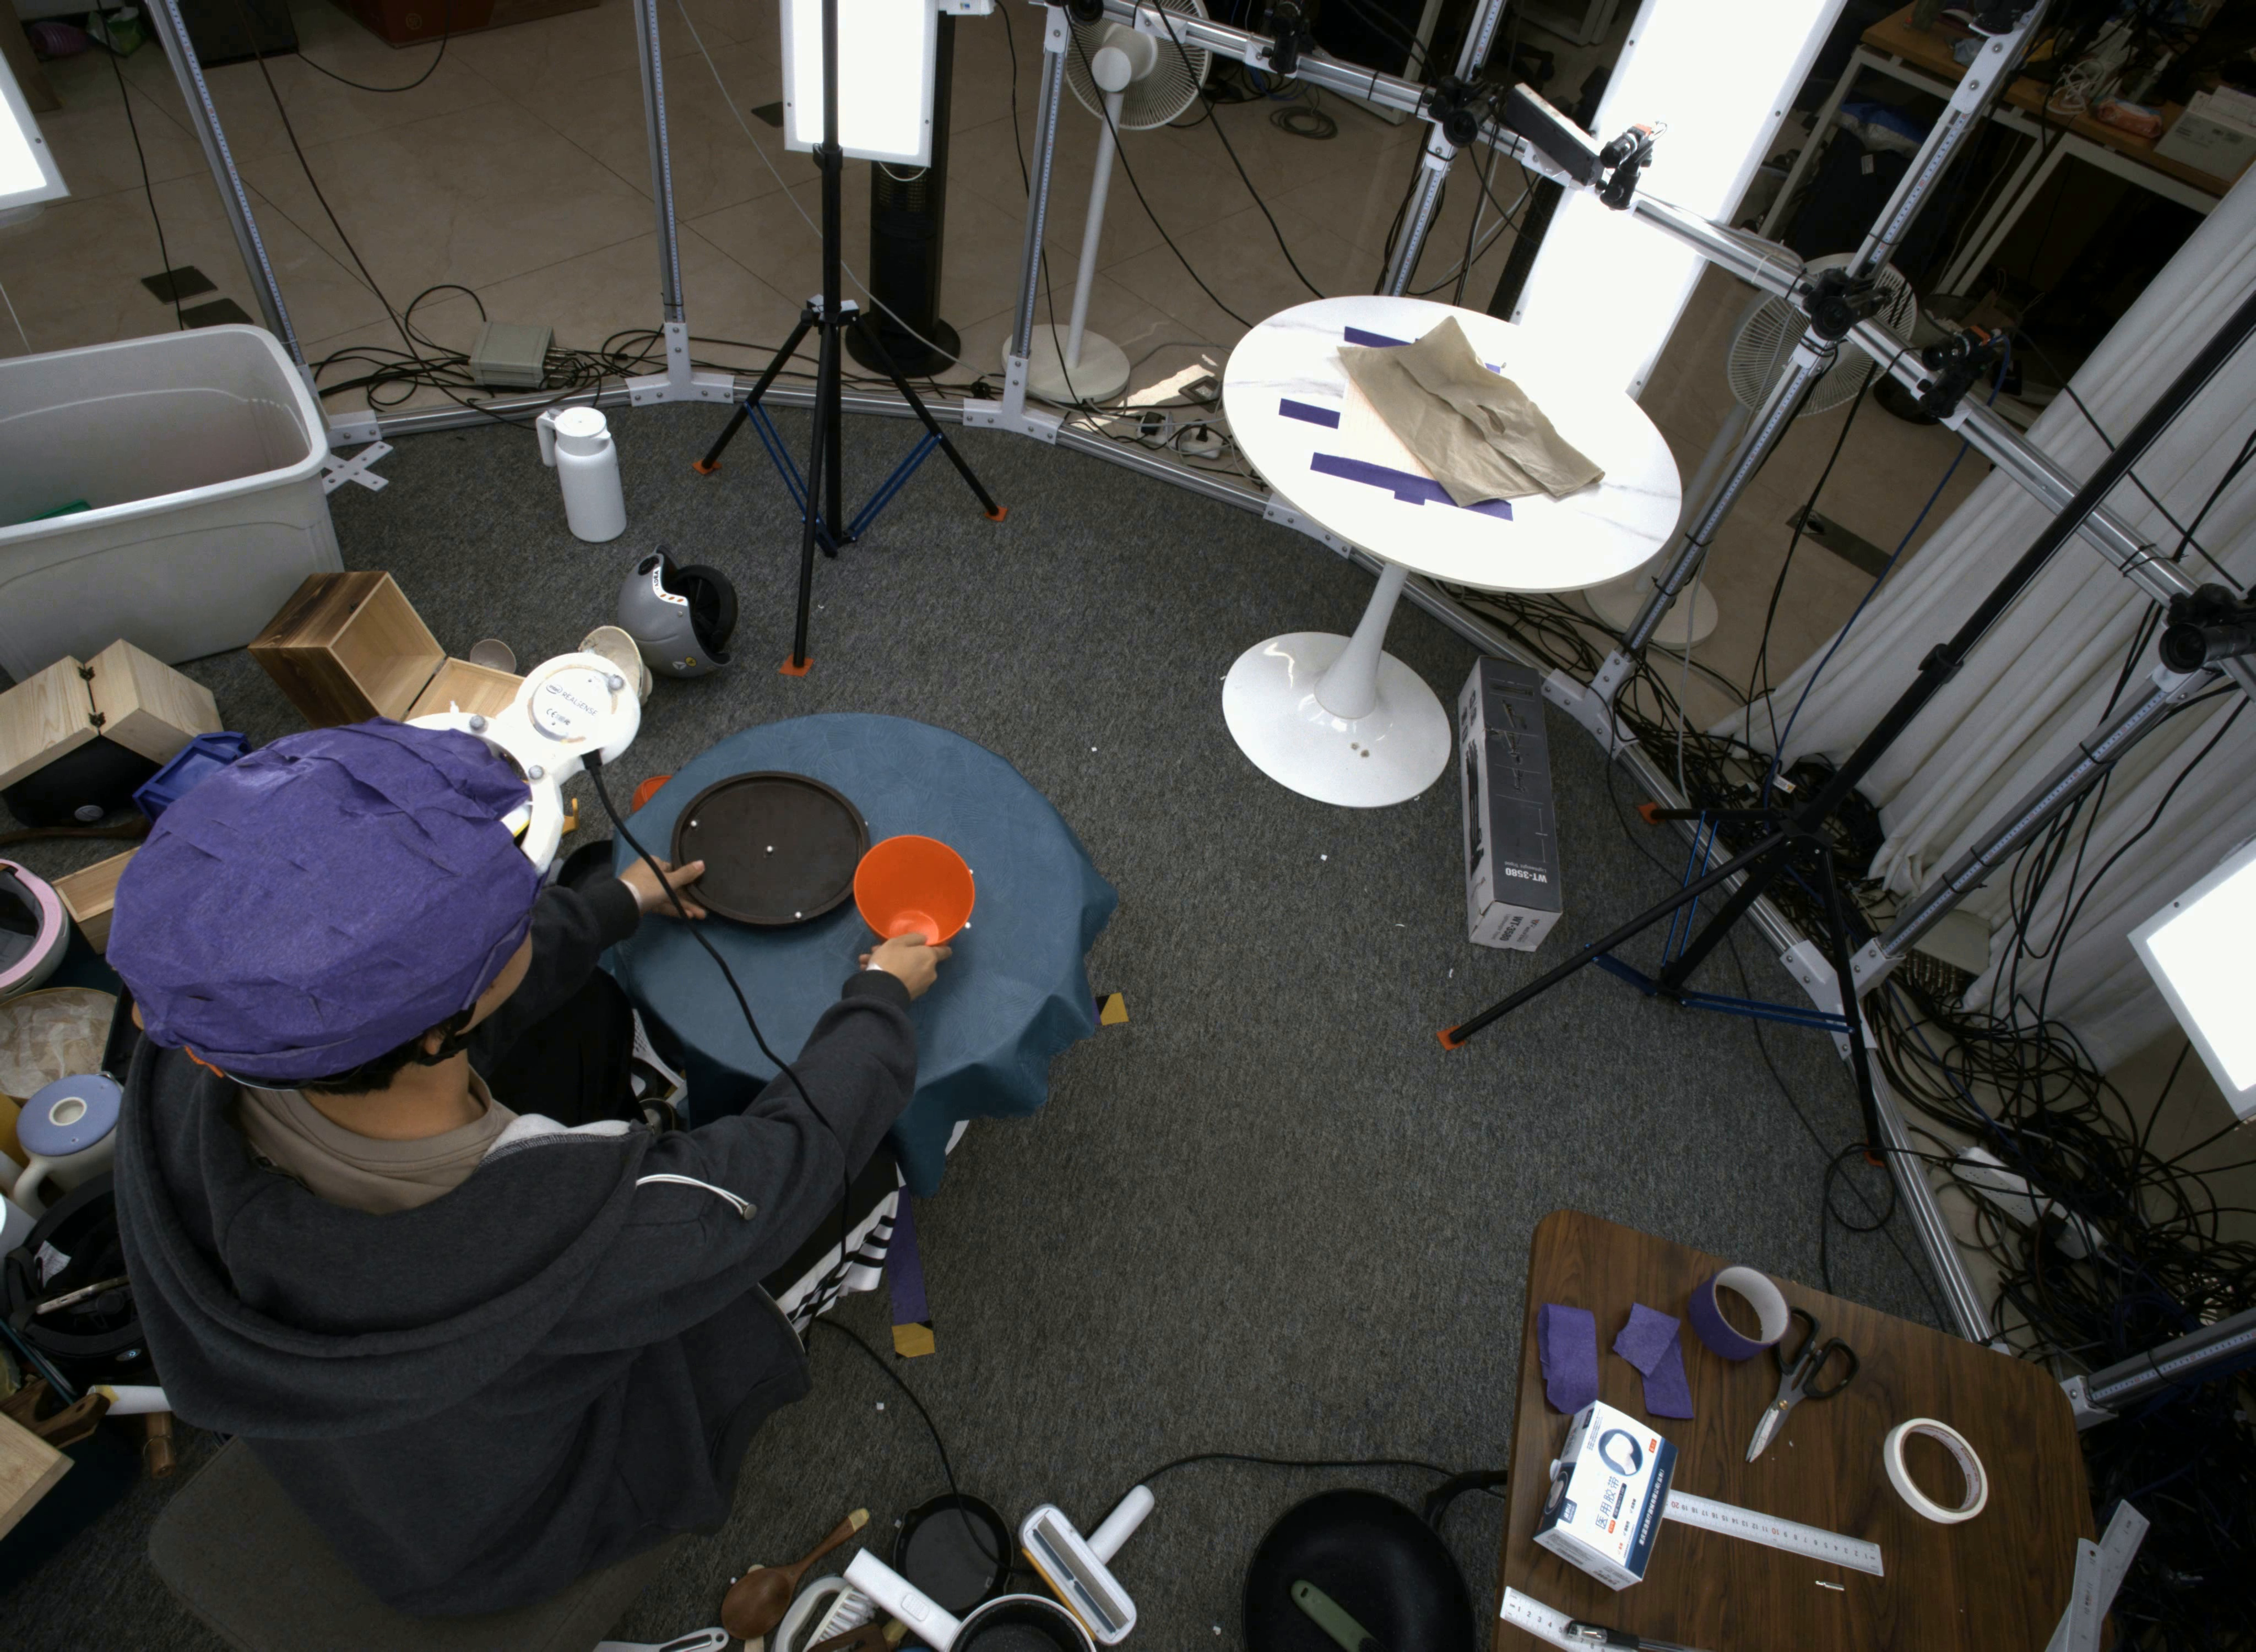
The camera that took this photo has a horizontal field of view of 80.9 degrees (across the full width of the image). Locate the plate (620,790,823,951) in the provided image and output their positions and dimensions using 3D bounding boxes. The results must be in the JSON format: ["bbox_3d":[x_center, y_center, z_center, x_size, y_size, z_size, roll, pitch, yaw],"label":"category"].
[{"bbox_3d":[-0.516,0.053,1.642,0.255,0.029,0.250,11,50,-12],"label":"plate"}]

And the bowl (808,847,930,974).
[{"bbox_3d":[-0.321,0.114,1.602,0.148,0.106,0.145,10,50,-10],"label":"bowl"}]
